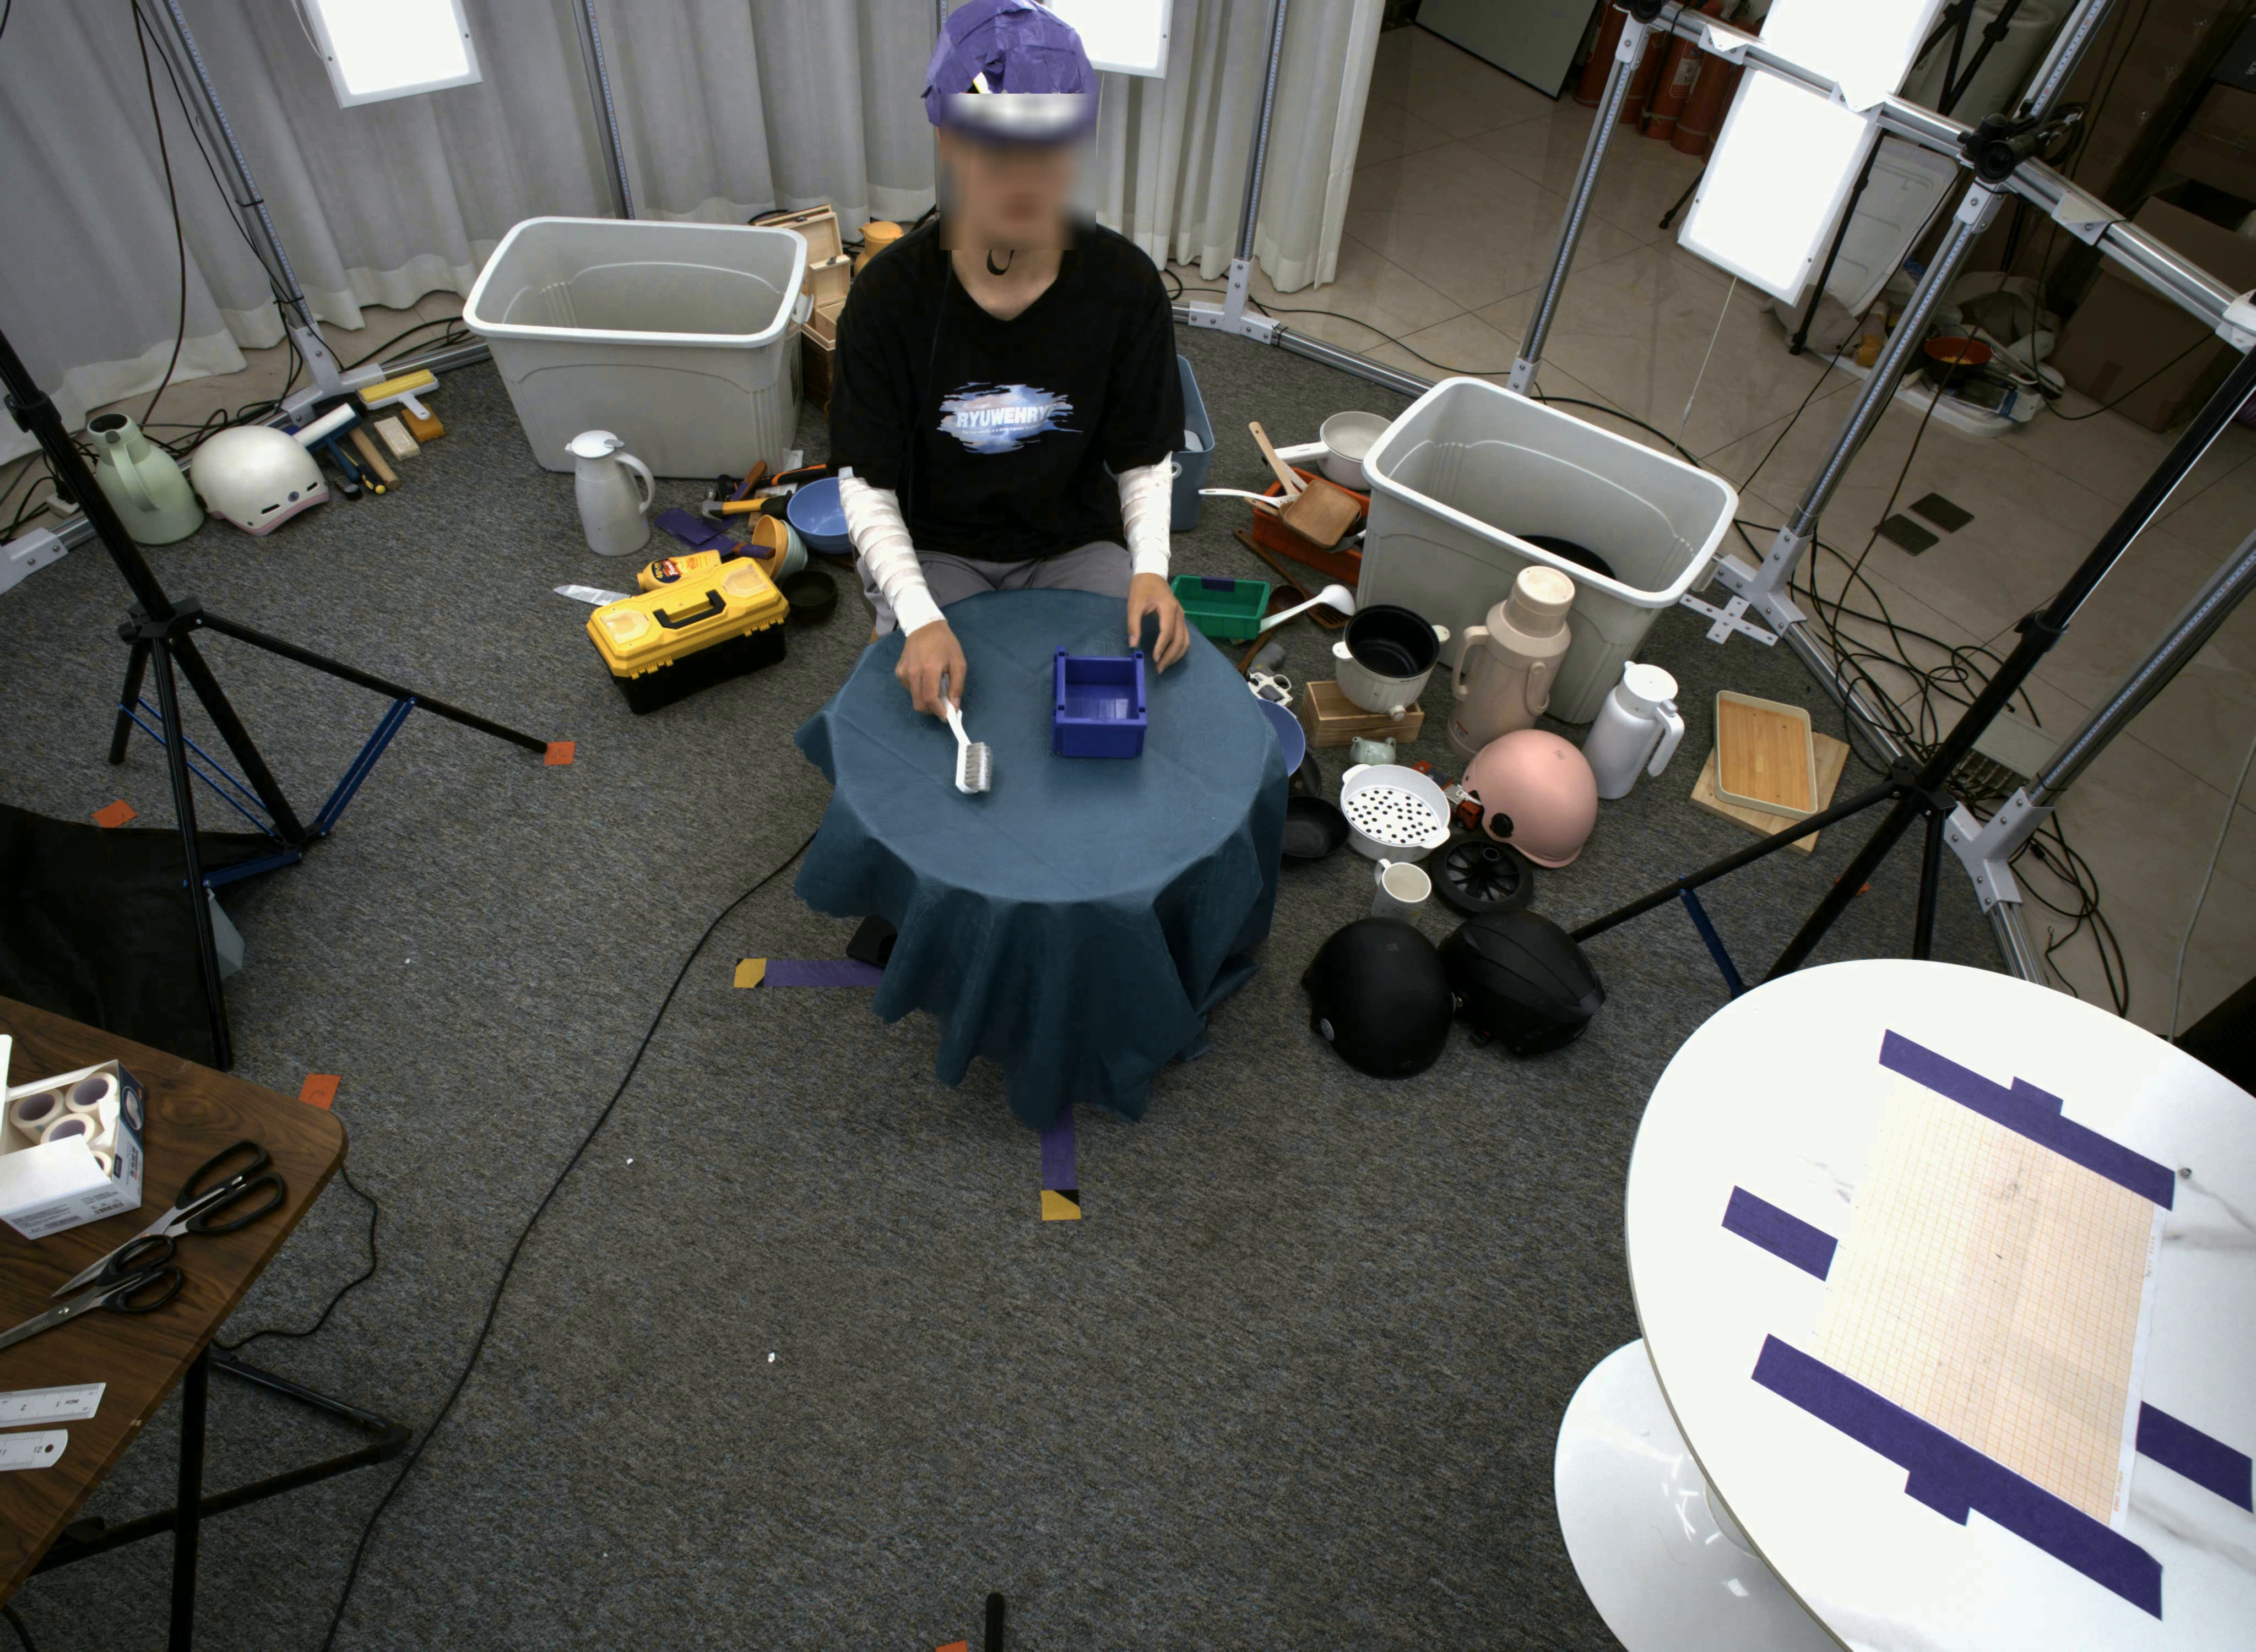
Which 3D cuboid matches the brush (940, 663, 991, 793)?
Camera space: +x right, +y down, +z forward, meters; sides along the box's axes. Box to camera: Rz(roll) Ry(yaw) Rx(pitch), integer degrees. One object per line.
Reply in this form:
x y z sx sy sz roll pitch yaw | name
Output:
-0.220 -0.143 1.745 0.050 0.034 0.250 -33 48 22 | brush

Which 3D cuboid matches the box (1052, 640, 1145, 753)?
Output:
-0.041 -0.187 1.779 0.124 0.080 0.184 2 51 -2 | box
